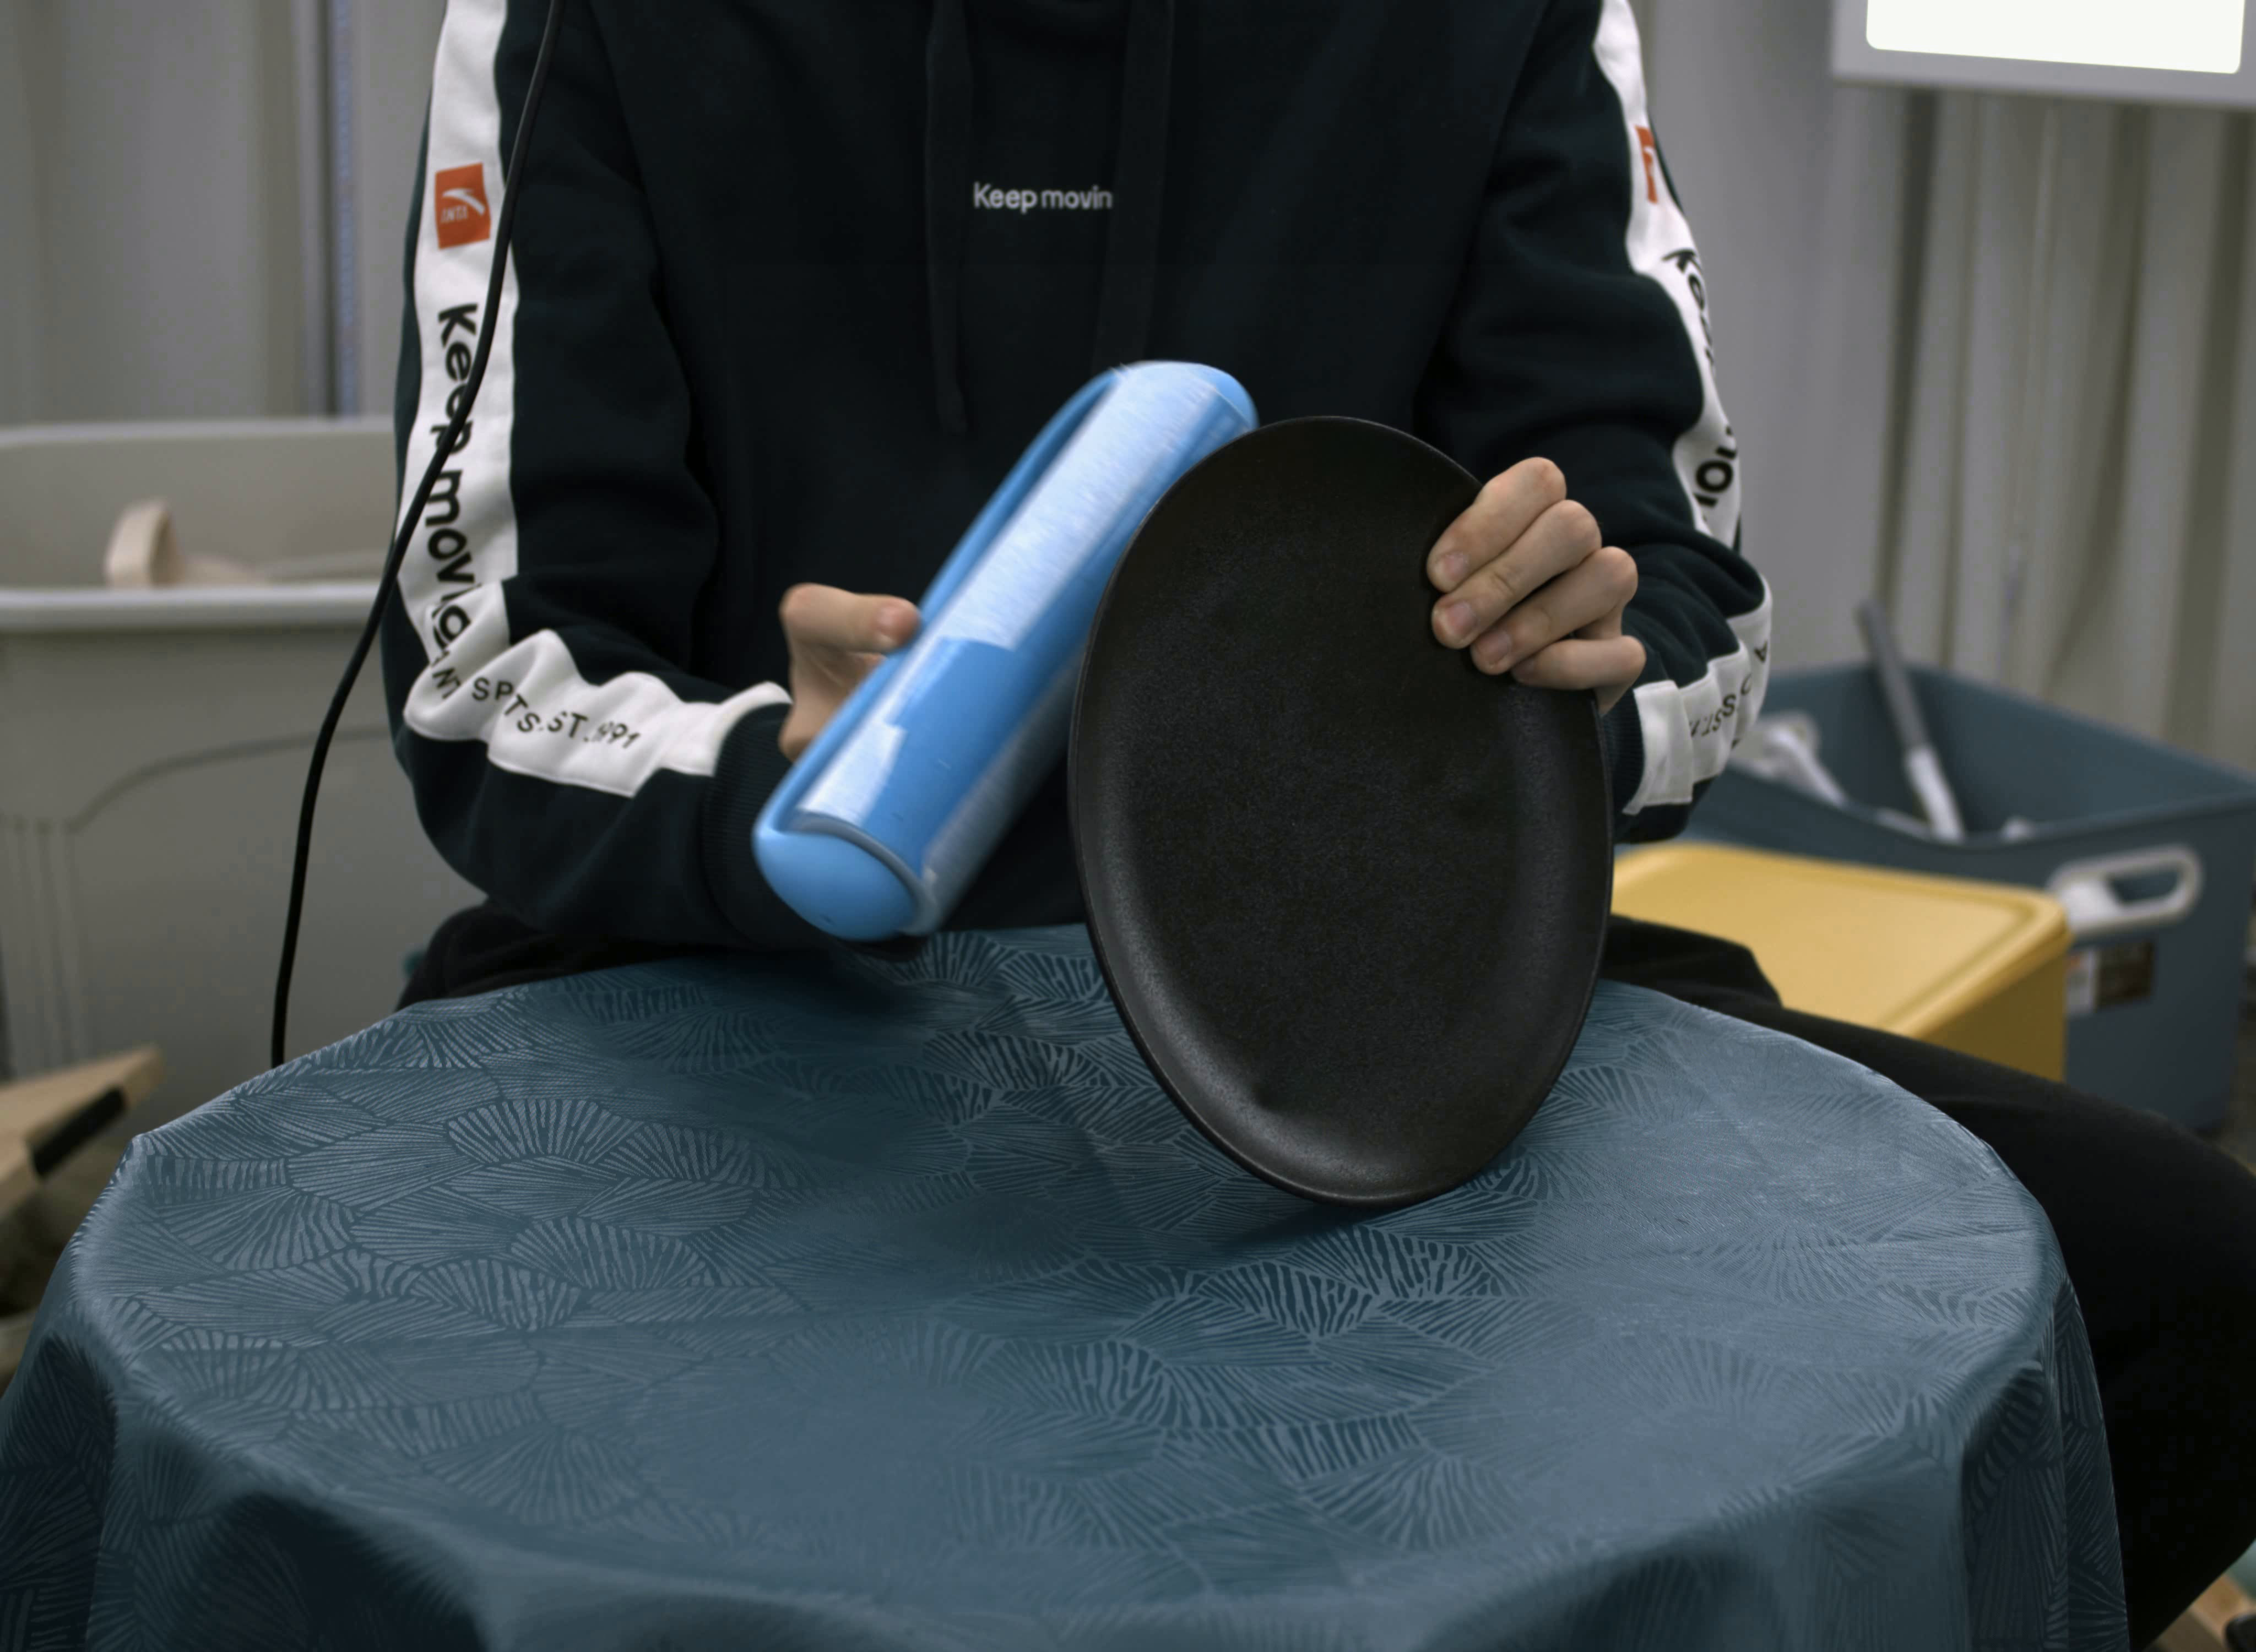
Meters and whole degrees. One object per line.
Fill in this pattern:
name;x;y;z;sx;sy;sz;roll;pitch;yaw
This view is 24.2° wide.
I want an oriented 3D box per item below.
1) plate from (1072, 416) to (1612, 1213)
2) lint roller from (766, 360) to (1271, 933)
plate;0.063;-0.003;1.609;0.023;0.245;0.245;-5;8;44
lint roller;-0.045;-0.035;1.647;0.068;0.180;0.228;36;61;-2
